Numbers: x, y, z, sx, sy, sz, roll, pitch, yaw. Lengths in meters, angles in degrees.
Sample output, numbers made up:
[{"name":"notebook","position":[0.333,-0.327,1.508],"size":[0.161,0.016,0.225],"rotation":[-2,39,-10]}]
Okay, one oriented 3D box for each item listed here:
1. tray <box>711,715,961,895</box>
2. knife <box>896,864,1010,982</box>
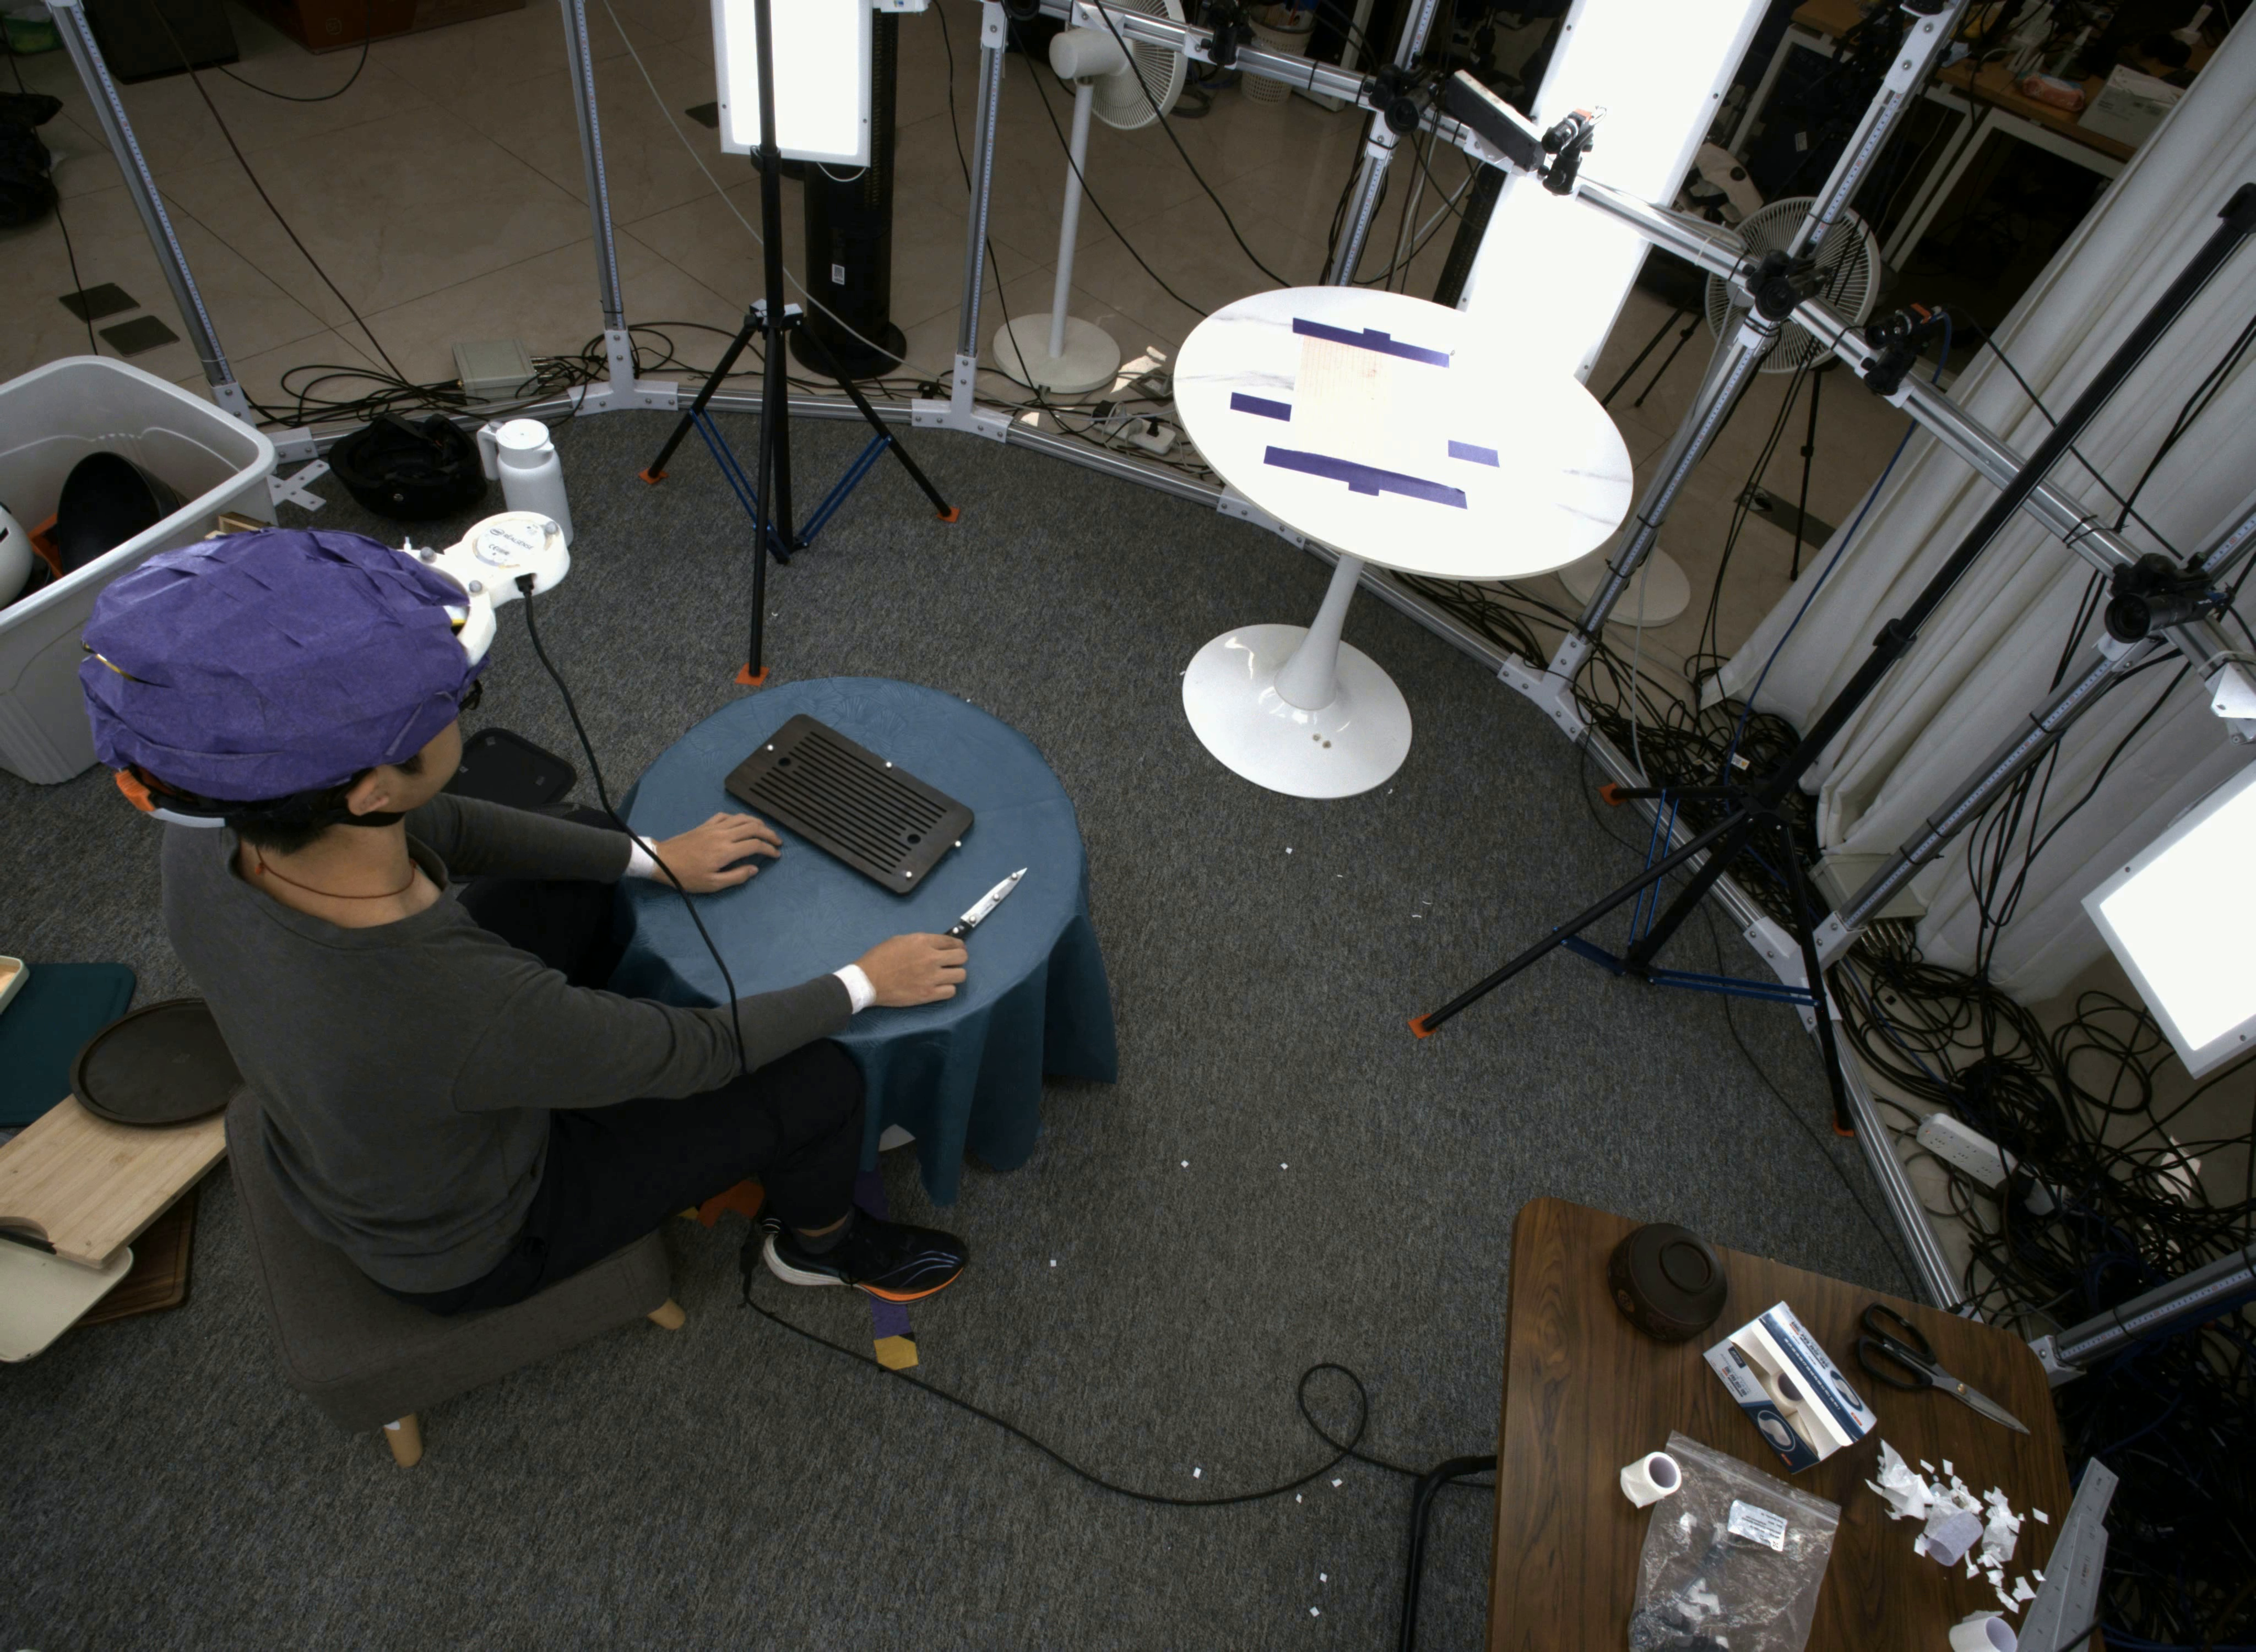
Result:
[{"name":"tray","position":[-0.394,-0.031,1.755],"size":[0.301,0.019,0.169],"rotation":[29,53,8]},{"name":"knife","position":[-0.220,0.121,1.690],"size":[0.024,0.016,0.237],"rotation":[32,50,12]}]
